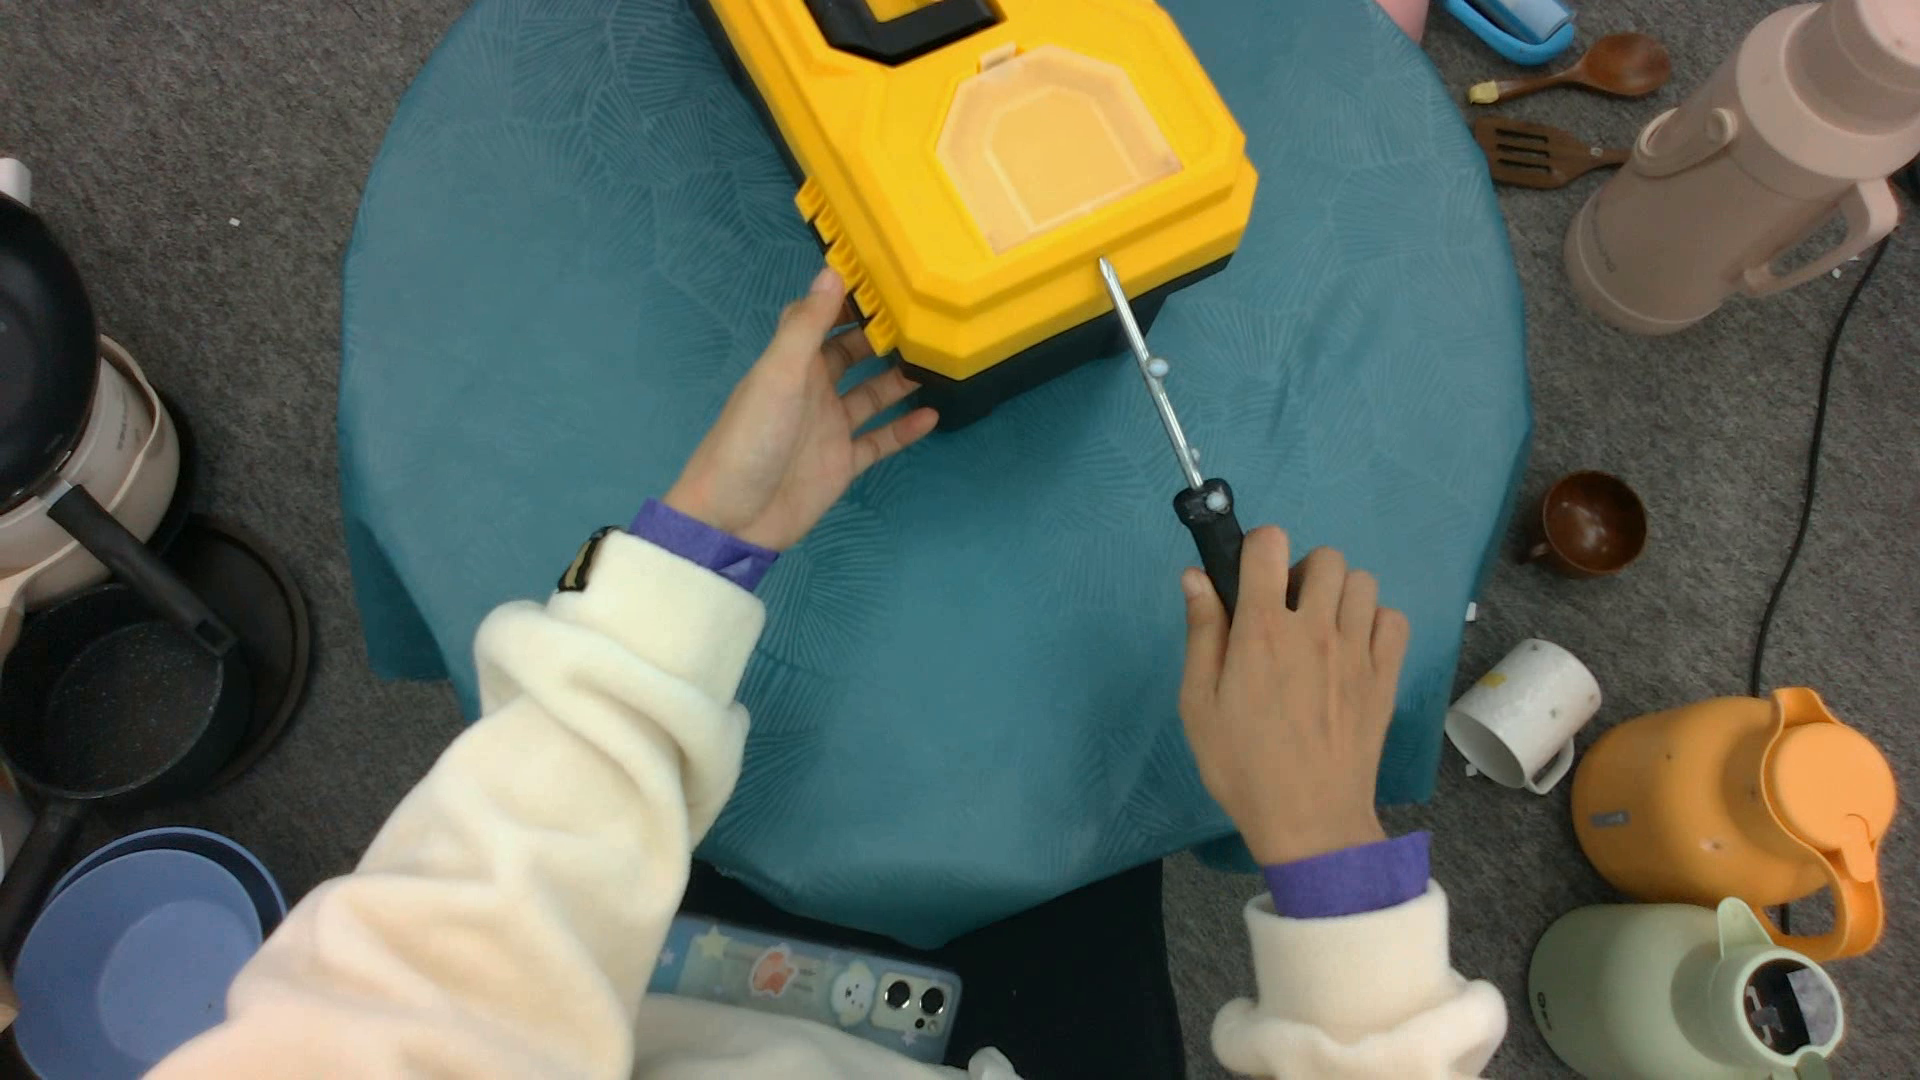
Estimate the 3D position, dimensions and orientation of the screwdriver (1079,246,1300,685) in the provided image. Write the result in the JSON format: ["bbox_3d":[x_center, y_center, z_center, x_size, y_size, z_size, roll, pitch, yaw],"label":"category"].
[{"bbox_3d":[0.093,-0.030,0.555,0.031,0.031,0.196,-26,101,-11],"label":"screwdriver"}]

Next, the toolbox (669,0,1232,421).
[{"bbox_3d":[-0.035,-0.239,0.642,0.181,0.172,0.352,-26,78,-11],"label":"toolbox"}]
